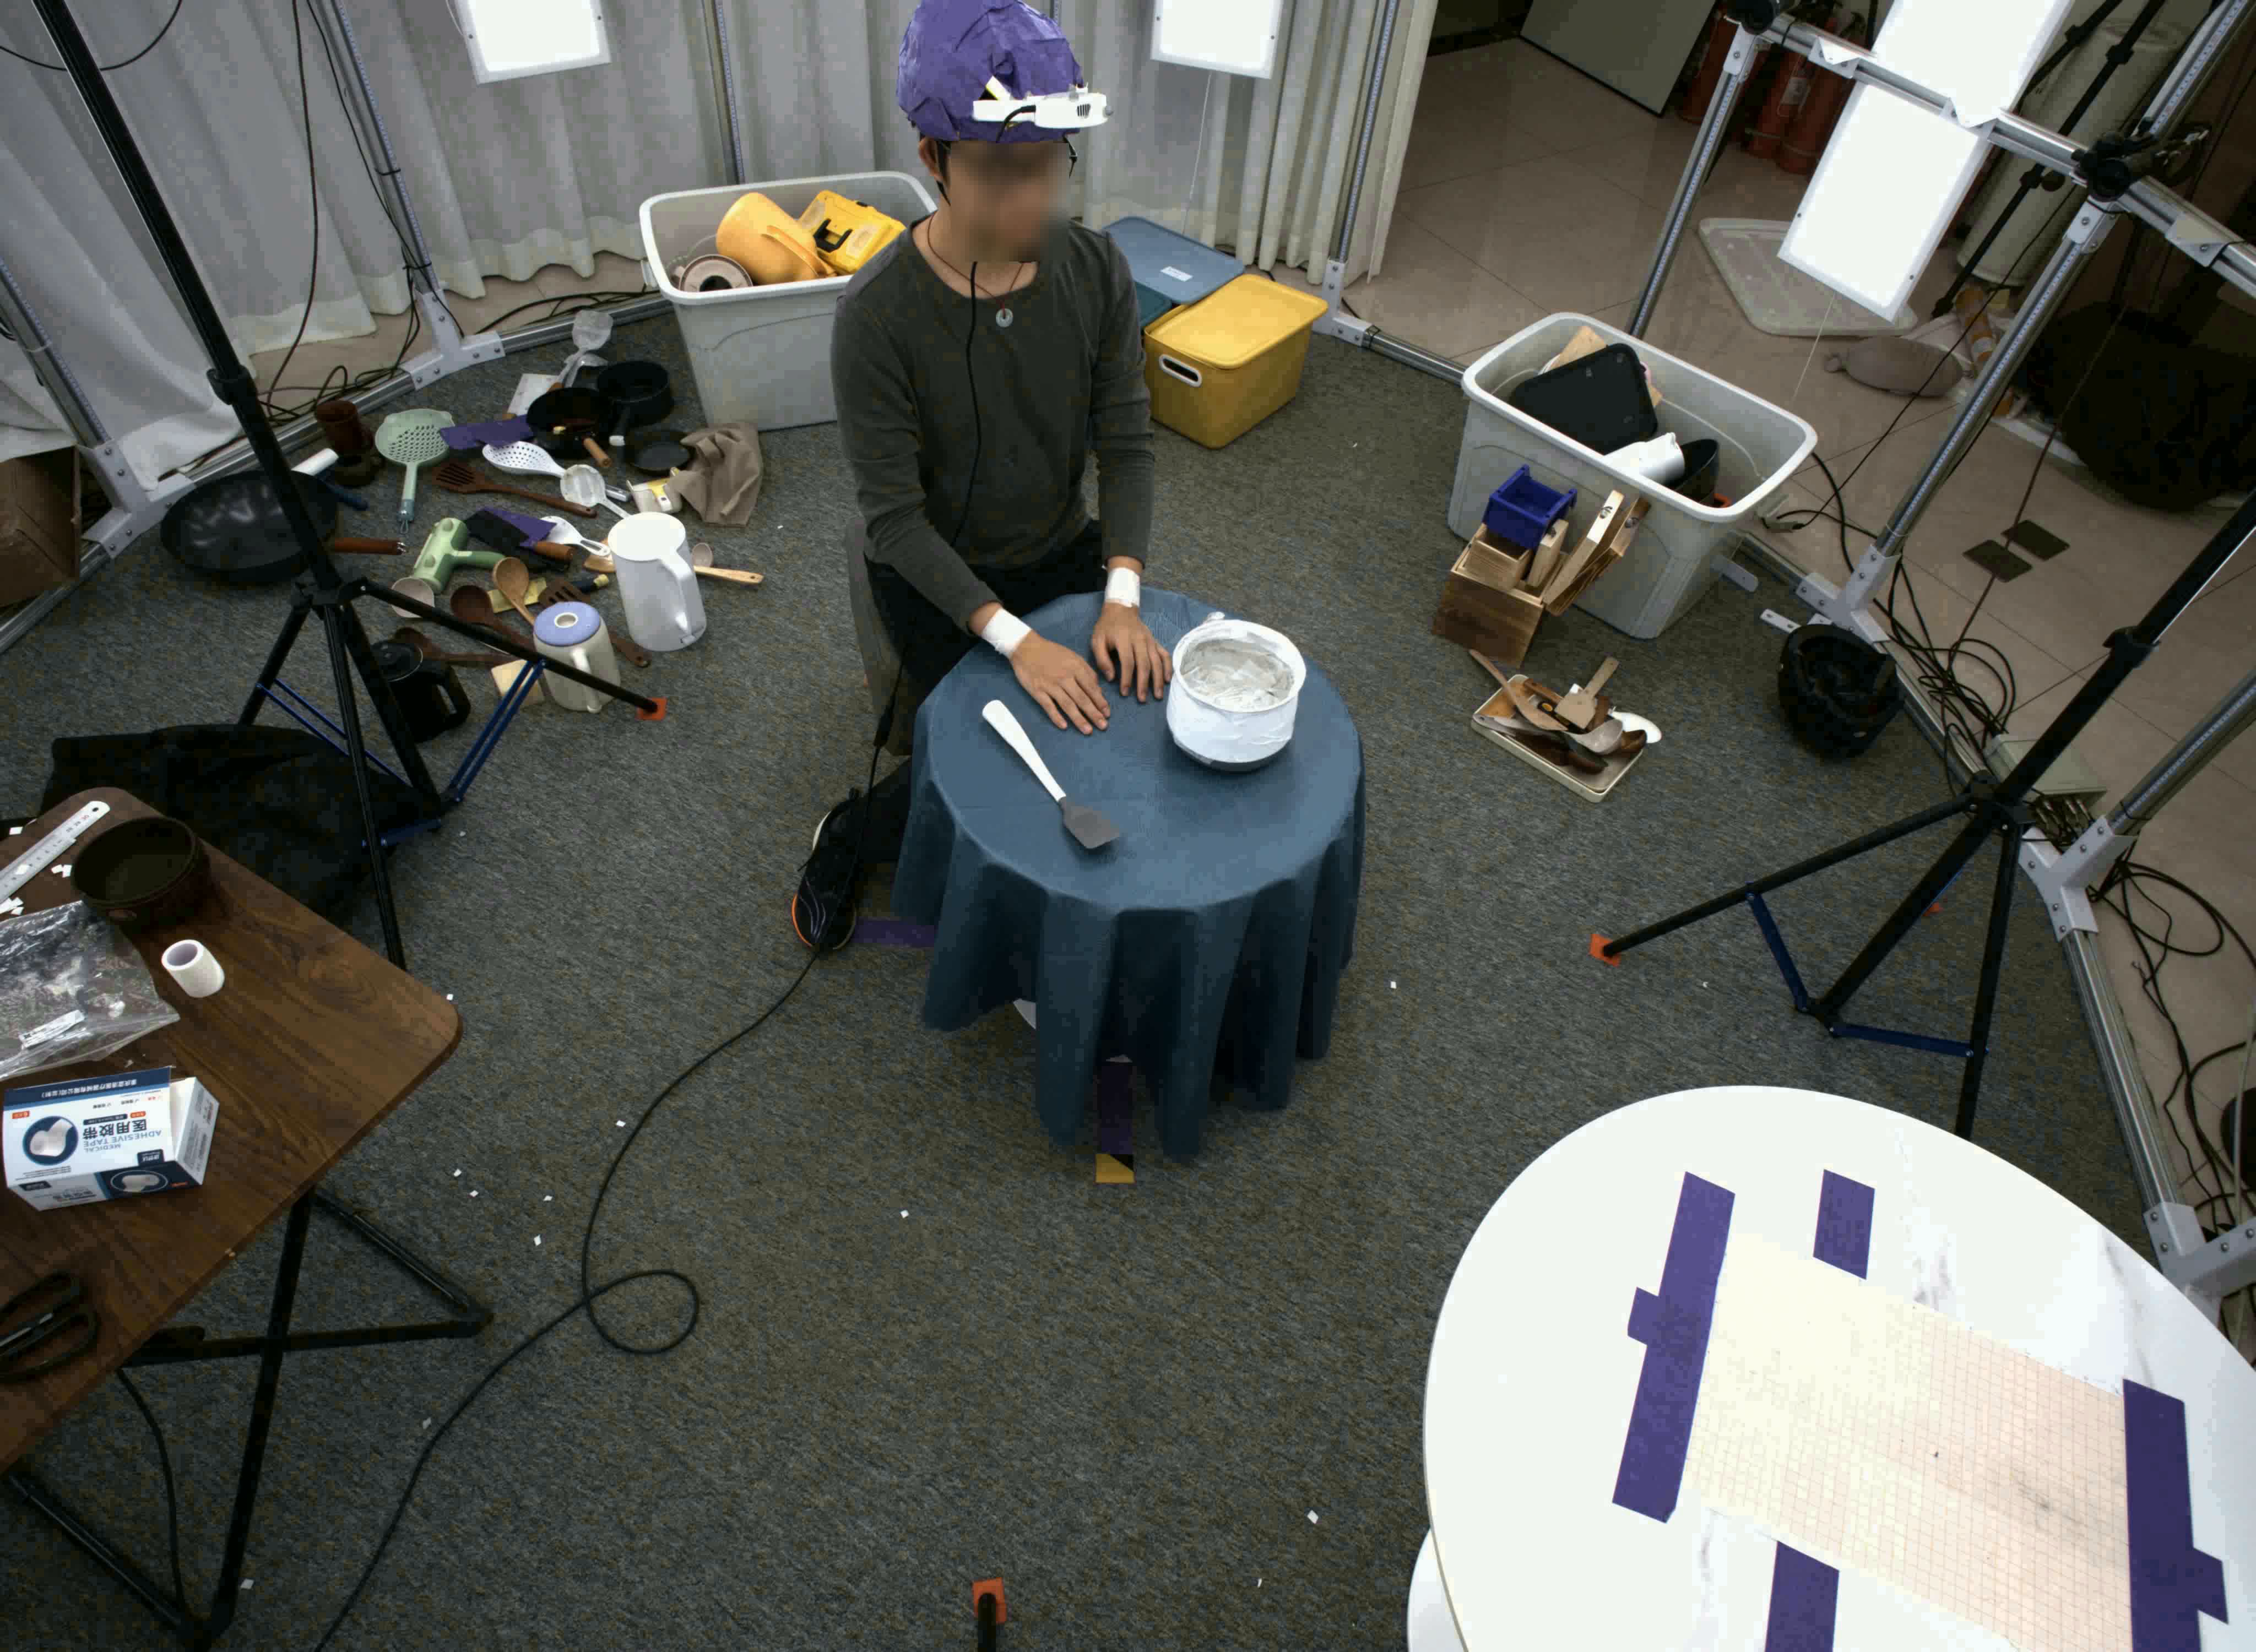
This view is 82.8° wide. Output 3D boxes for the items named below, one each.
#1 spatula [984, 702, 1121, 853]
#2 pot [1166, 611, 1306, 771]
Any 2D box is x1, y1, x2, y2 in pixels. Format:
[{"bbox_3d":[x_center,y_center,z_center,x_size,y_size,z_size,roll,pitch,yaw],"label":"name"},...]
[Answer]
[{"bbox_3d":[-0.107,-0.065,1.695,0.059,0.031,0.293,-23,54,-25],"label":"spatula"},{"bbox_3d":[0.136,-0.194,1.756,0.178,0.133,0.239,-9,50,-12],"label":"pot"}]
